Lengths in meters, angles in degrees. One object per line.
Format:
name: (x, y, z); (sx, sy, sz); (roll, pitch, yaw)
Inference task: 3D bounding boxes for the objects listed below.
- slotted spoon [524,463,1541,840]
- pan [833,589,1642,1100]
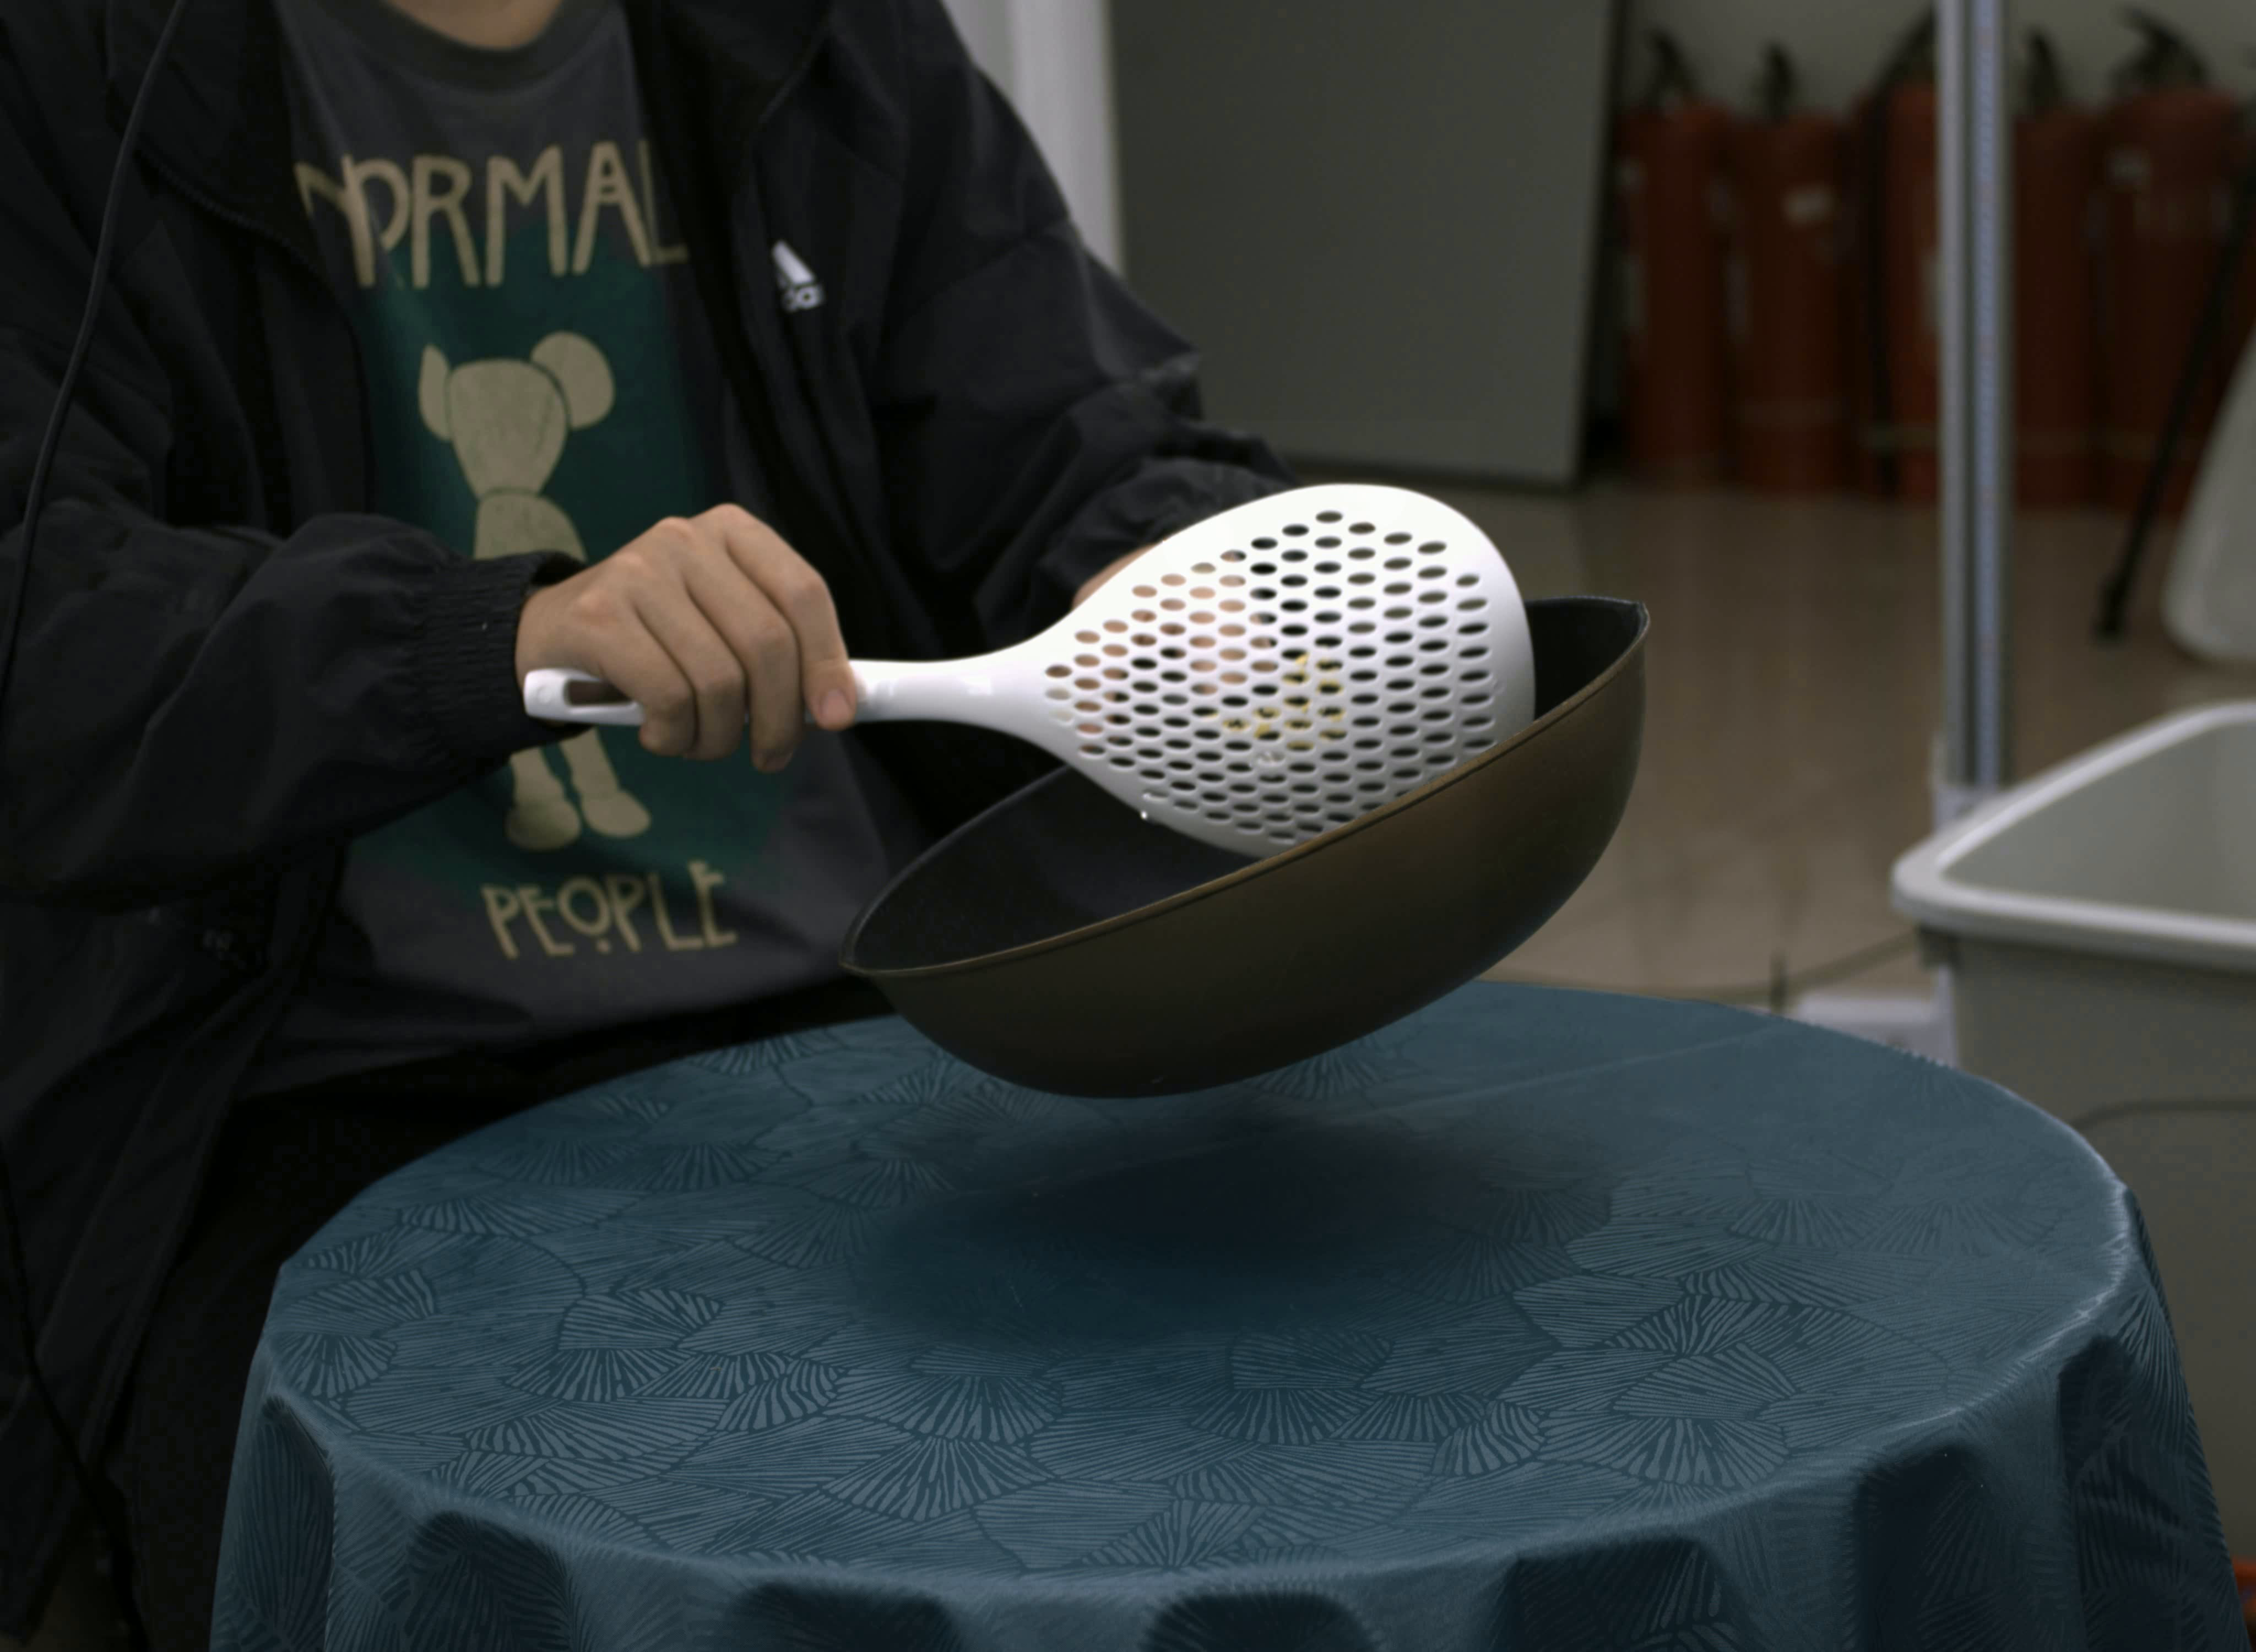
slotted spoon: (-0.033, -0.047, 1.829); (0.346, 0.138, 0.050); (-1, 12, 15)
pan: (0.038, 0.004, 1.834); (0.285, 0.087, 0.465); (-25, 10, -3)
